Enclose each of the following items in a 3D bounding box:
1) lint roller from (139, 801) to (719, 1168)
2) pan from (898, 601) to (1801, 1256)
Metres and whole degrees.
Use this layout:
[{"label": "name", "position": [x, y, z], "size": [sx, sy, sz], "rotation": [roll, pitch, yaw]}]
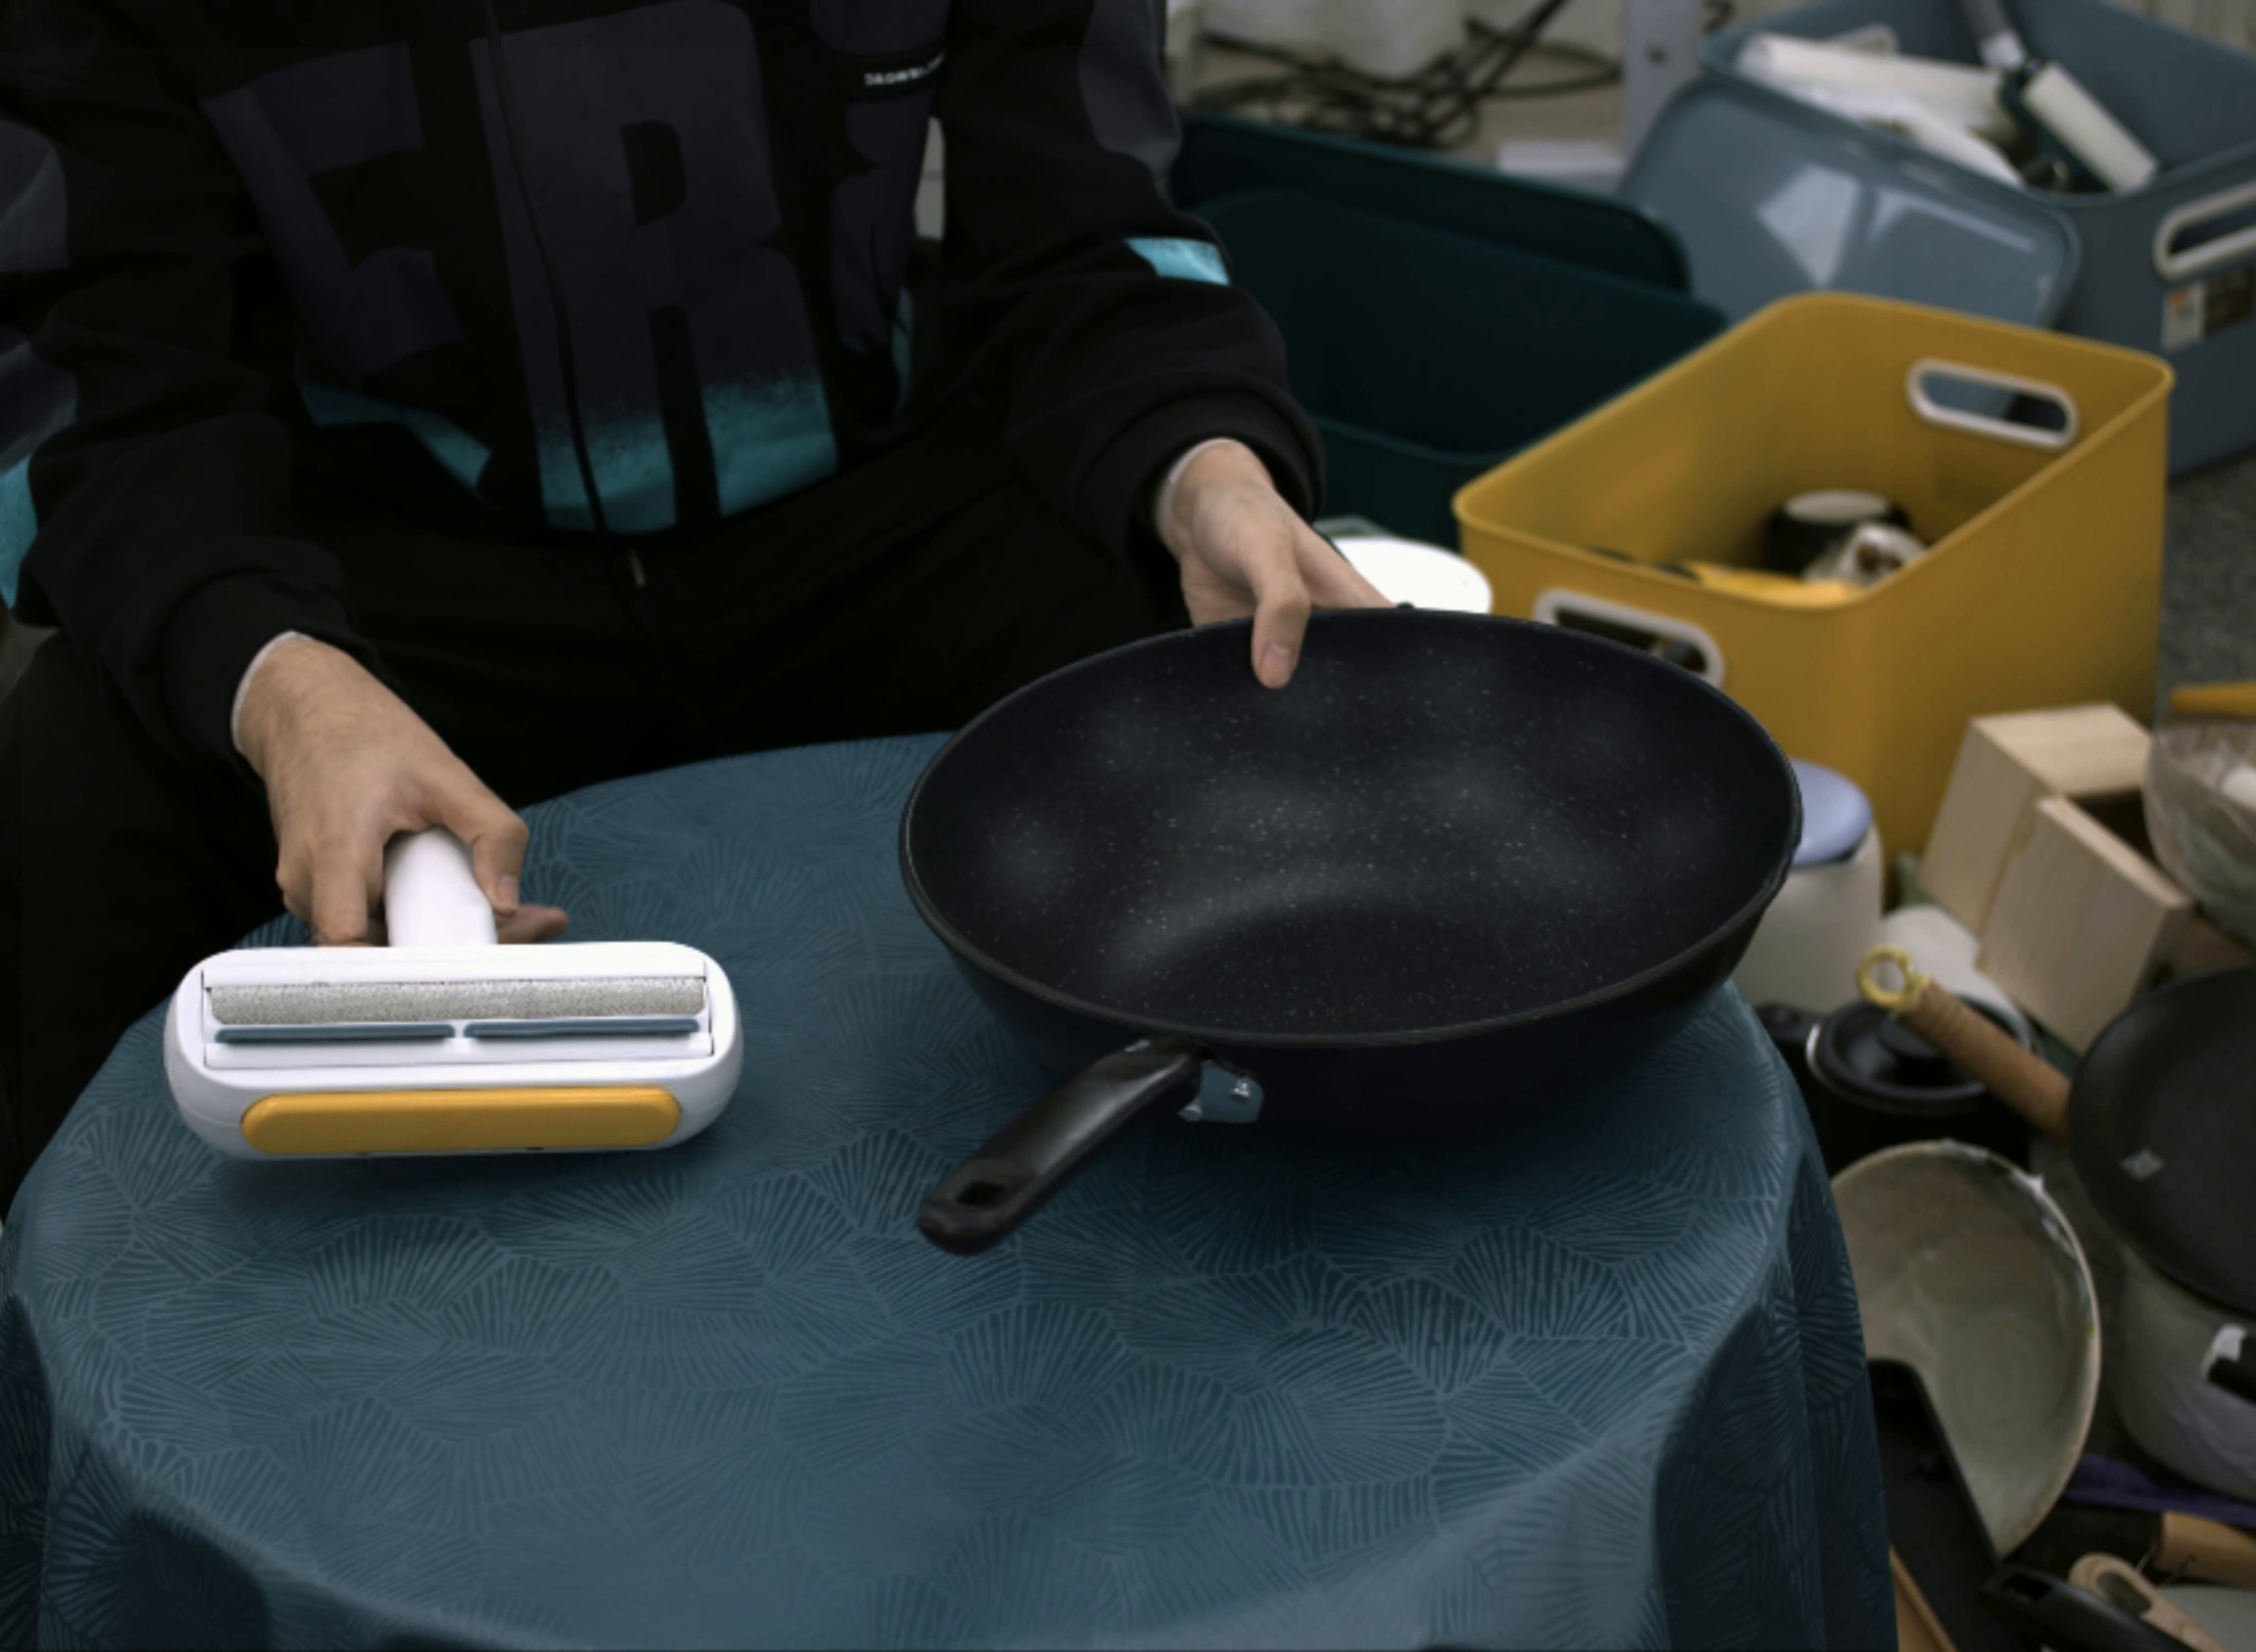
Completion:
[{"label": "lint roller", "position": [-0.239, 0.044, 1.933], "size": [0.192, 0.073, 0.196], "rotation": [-2, 40, -6]}, {"label": "pan", "position": [0.045, 0.056, 1.866], "size": [0.308, 0.110, 0.485], "rotation": [7, 29, 21]}]
